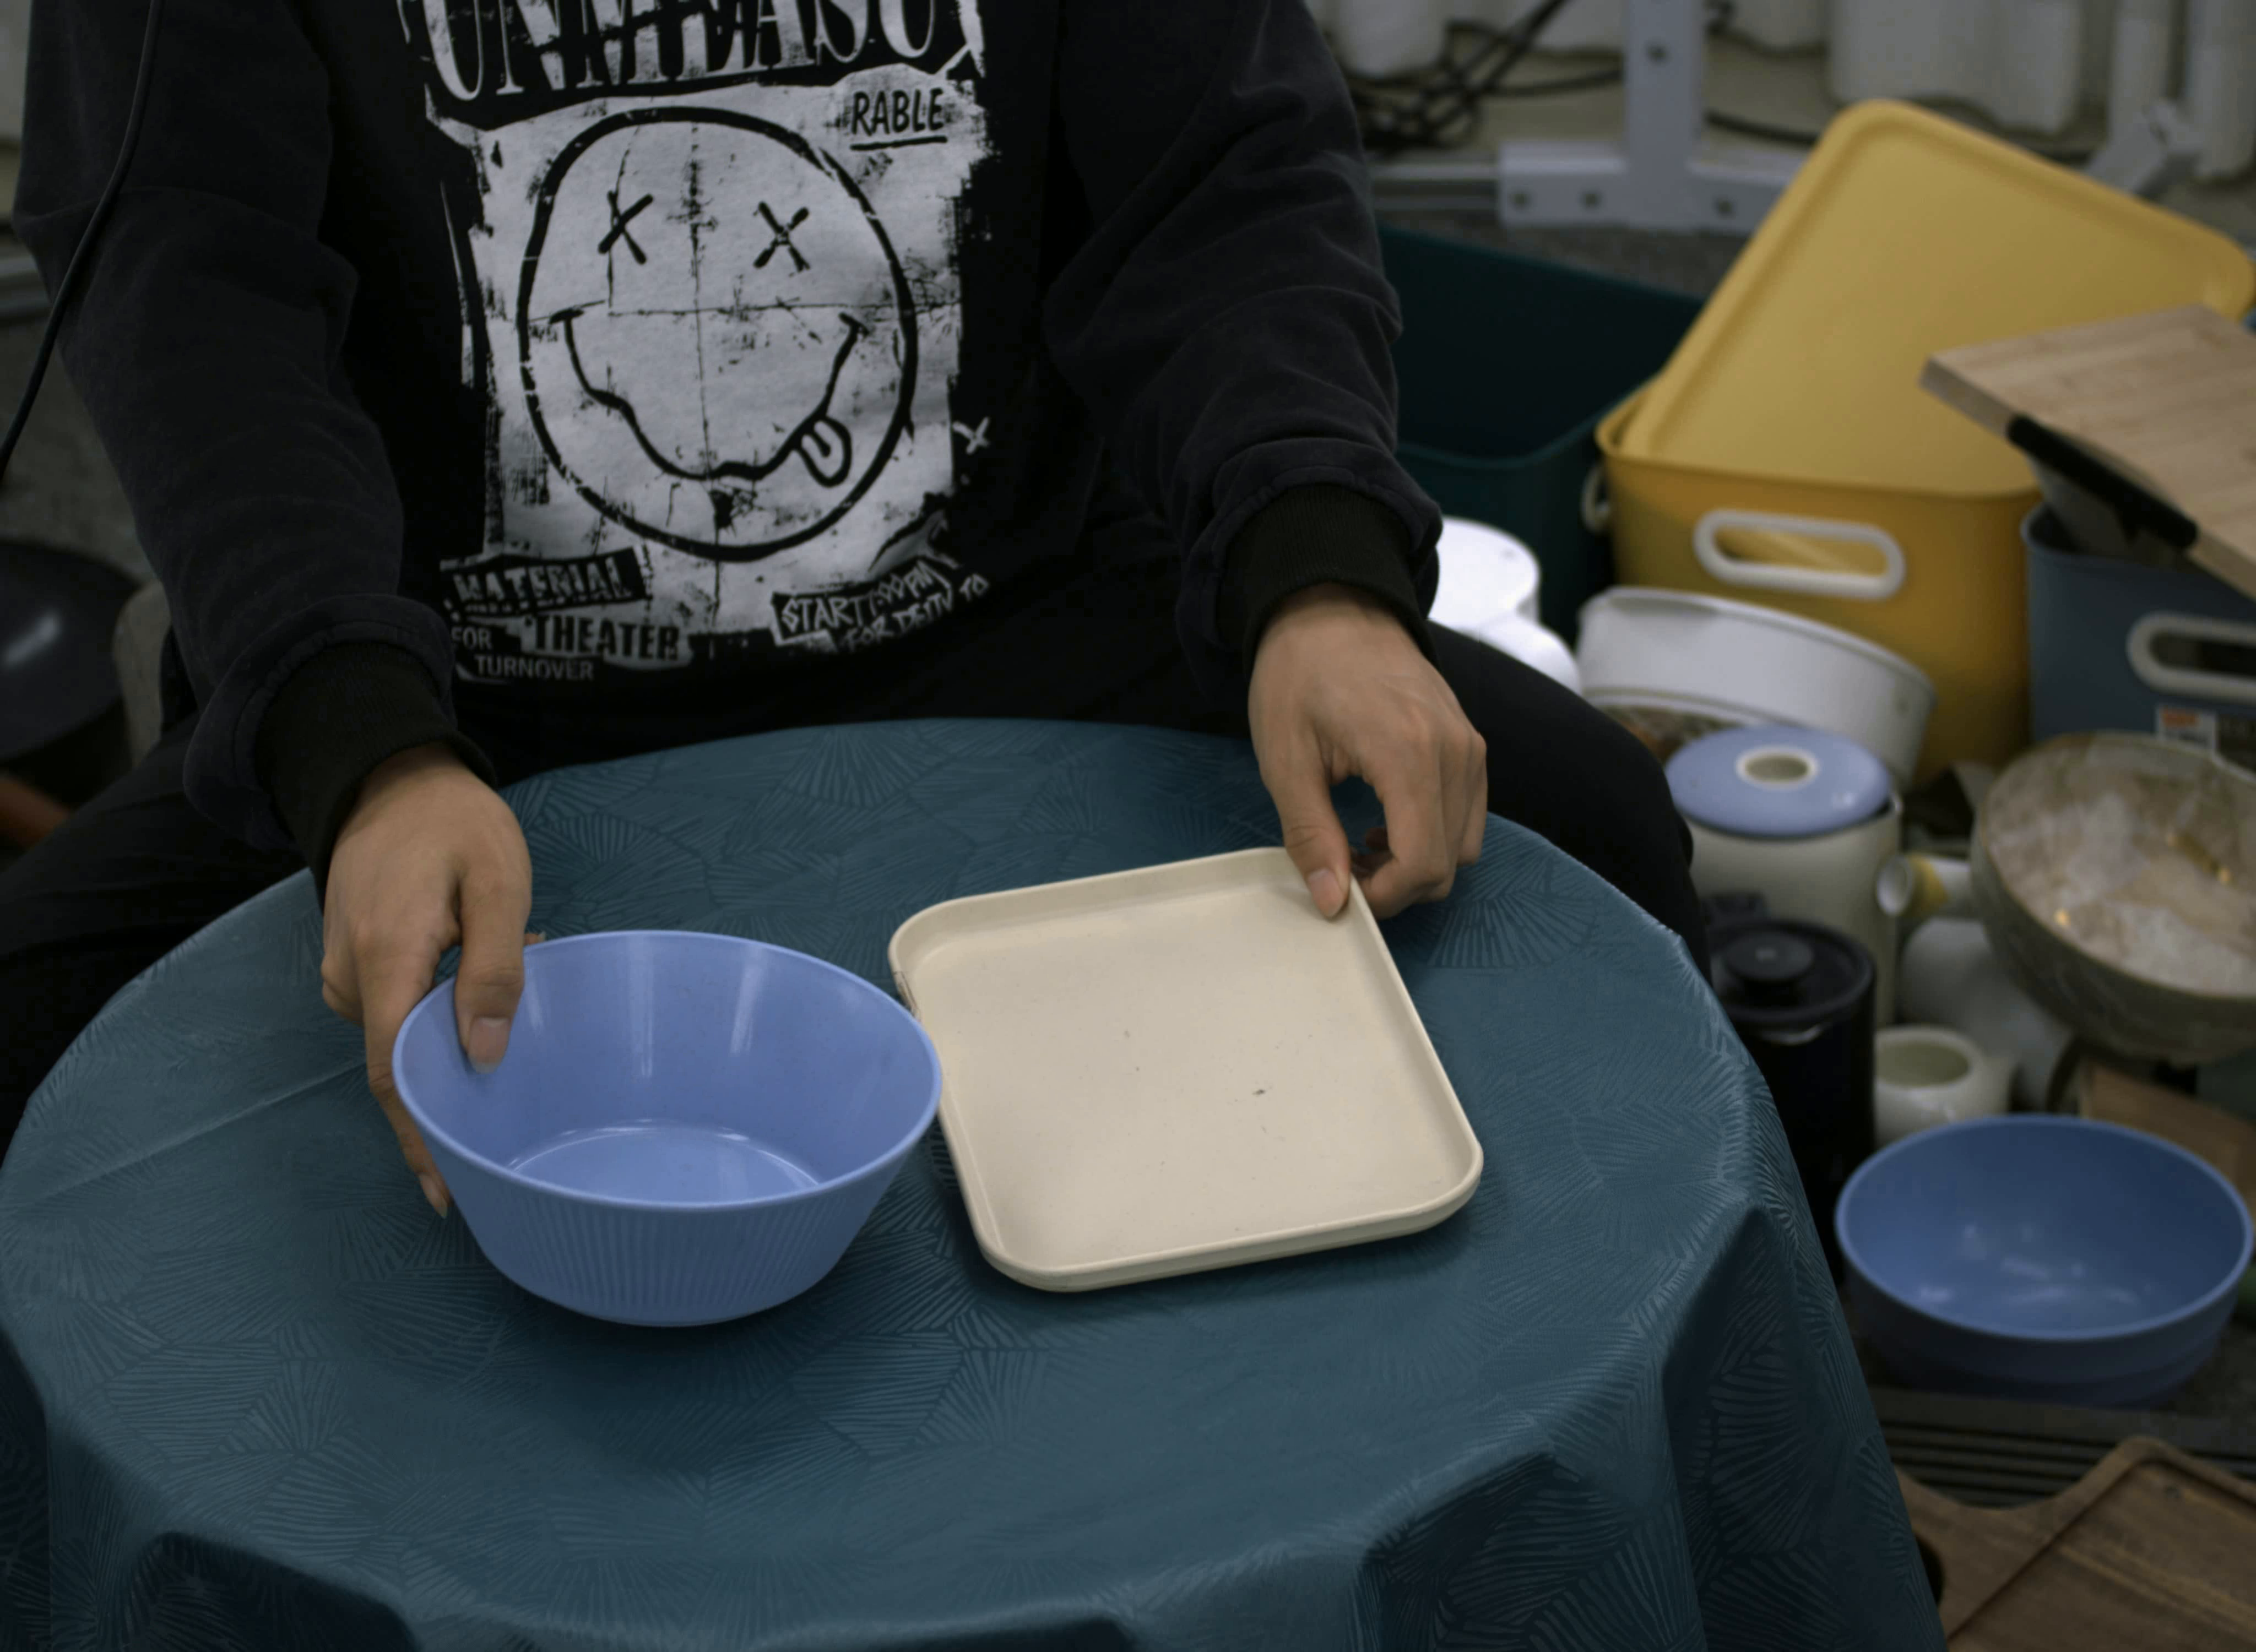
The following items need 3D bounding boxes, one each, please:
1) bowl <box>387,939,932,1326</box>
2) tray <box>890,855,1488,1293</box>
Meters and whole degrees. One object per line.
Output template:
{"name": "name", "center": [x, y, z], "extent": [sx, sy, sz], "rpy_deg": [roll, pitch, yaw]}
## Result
{"name": "bowl", "center": [-0.153, 0.105, 1.816], "extent": [0.175, 0.069, 0.178], "rpy_deg": [4, 26, -2]}
{"name": "tray", "center": [0.017, 0.083, 1.905], "extent": [0.171, 0.017, 0.243], "rpy_deg": [-8, 30, -8]}
